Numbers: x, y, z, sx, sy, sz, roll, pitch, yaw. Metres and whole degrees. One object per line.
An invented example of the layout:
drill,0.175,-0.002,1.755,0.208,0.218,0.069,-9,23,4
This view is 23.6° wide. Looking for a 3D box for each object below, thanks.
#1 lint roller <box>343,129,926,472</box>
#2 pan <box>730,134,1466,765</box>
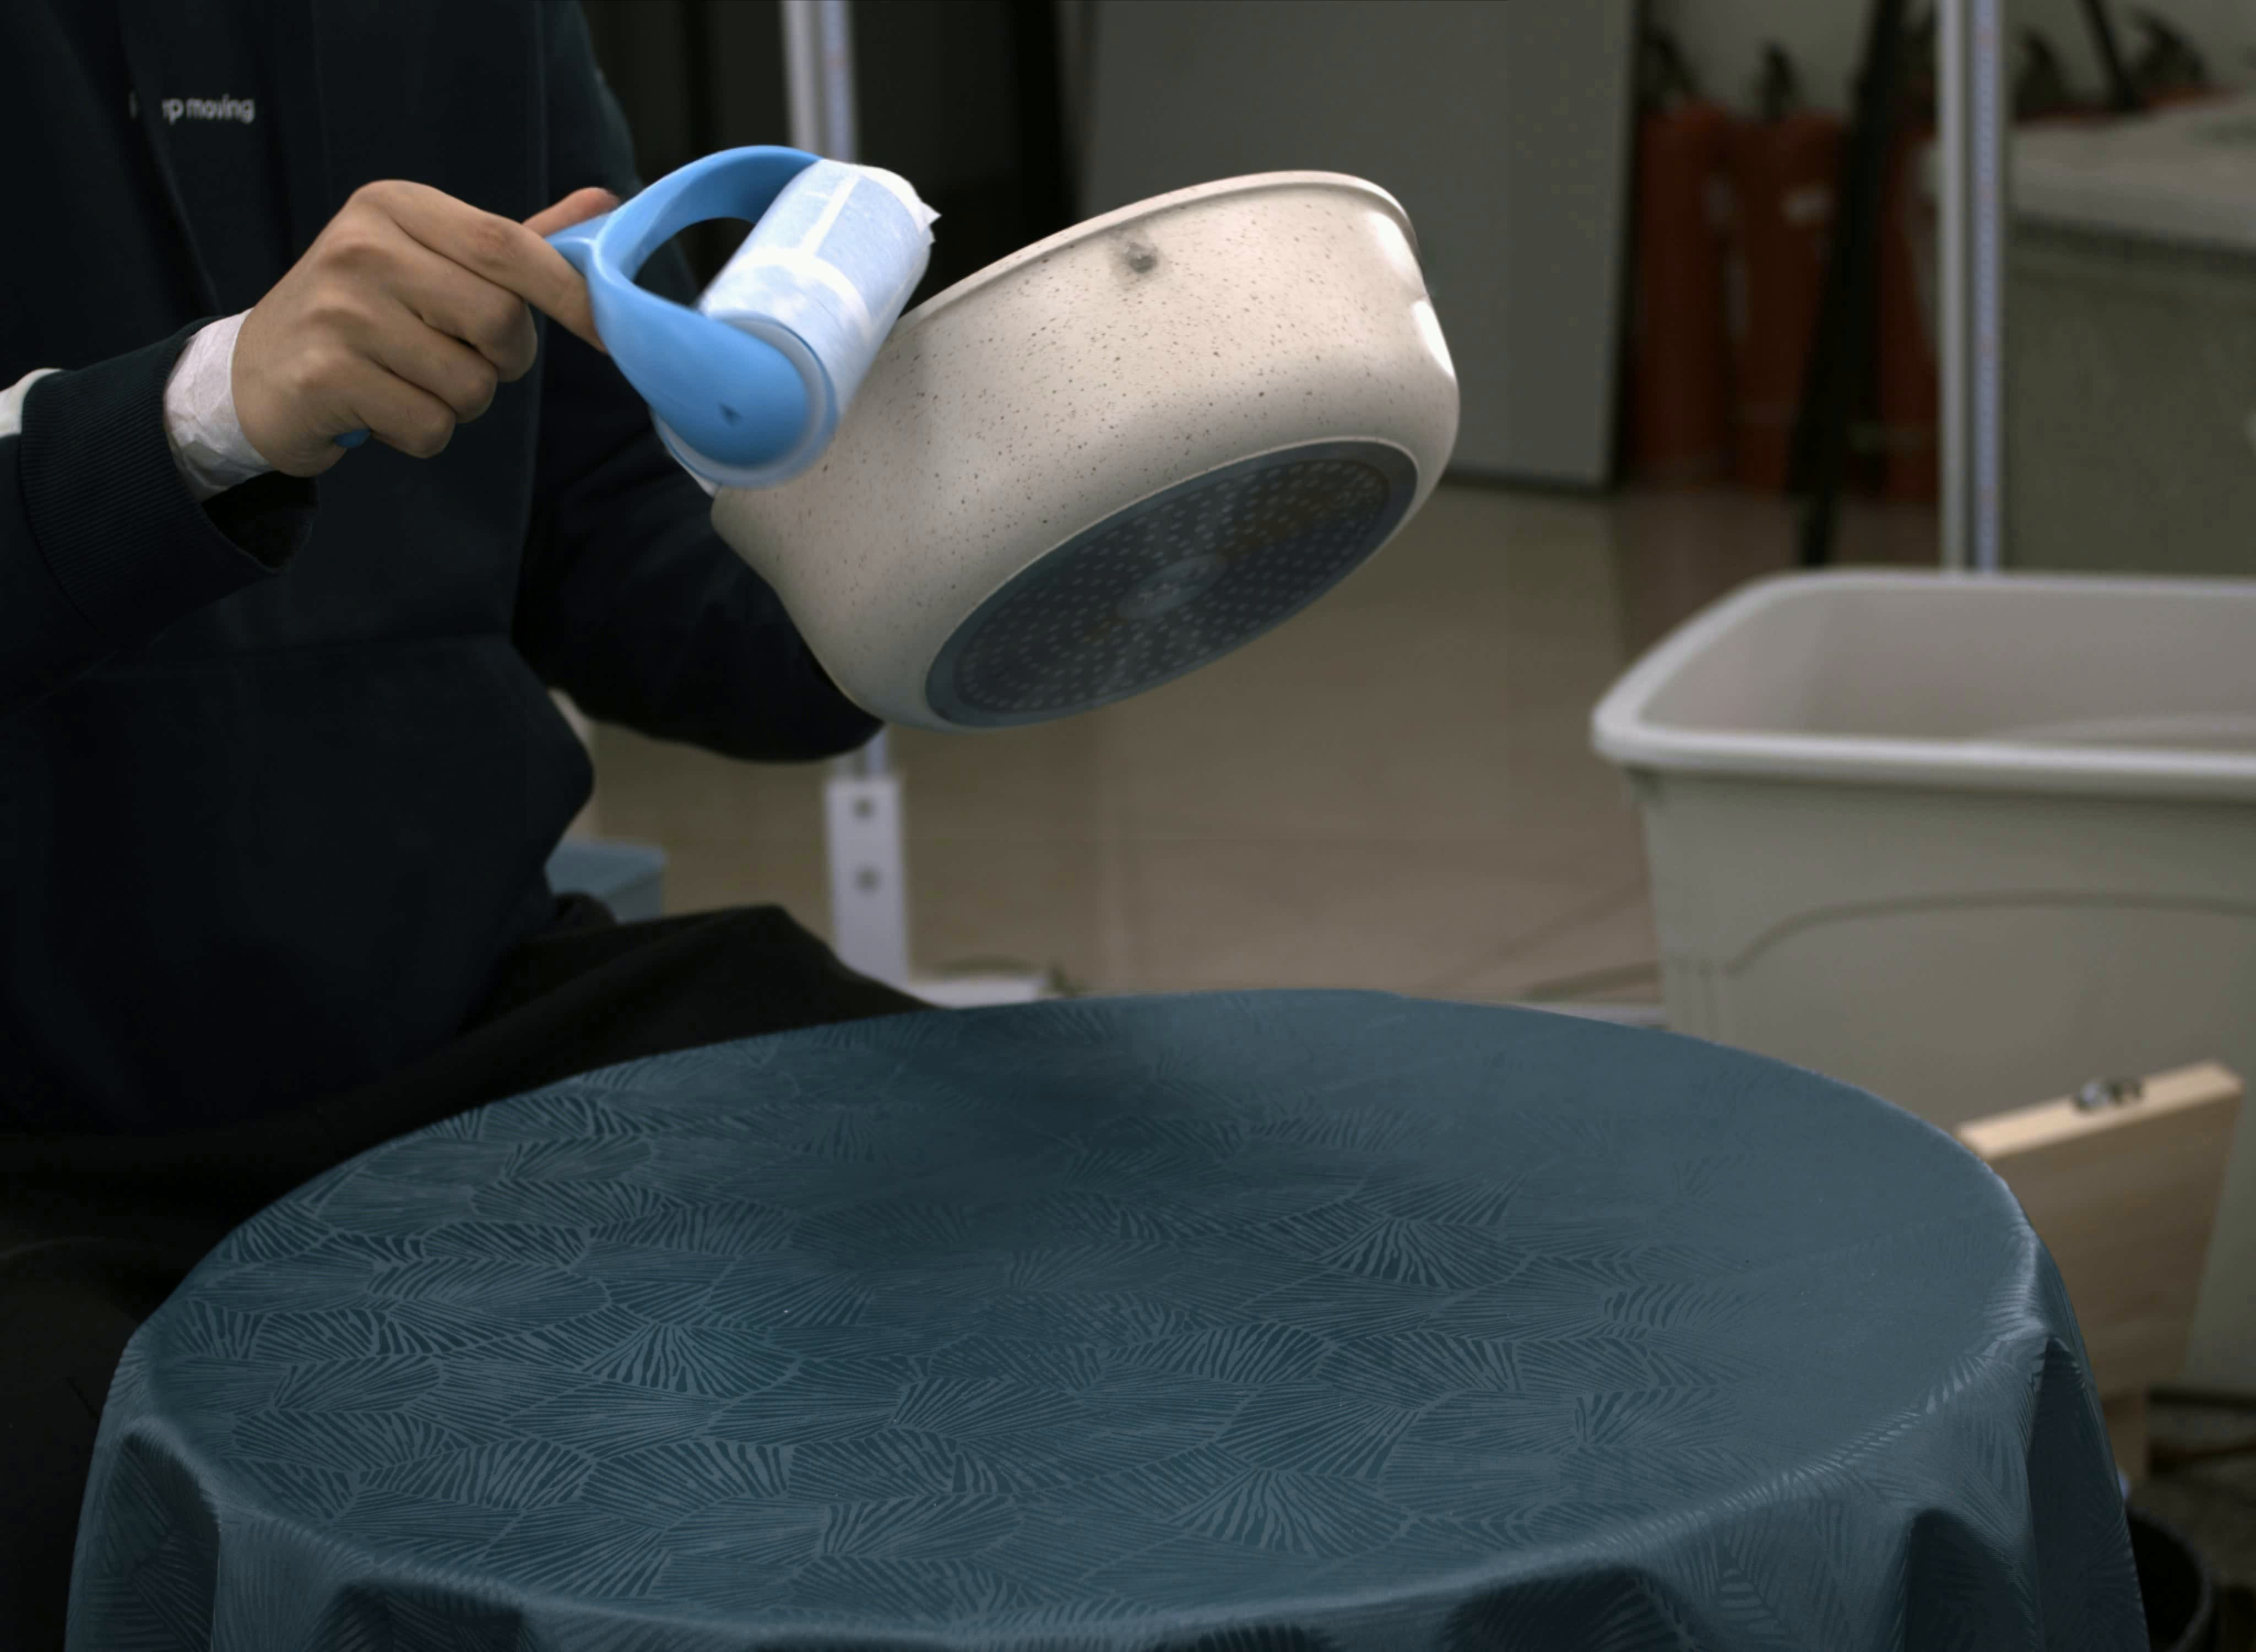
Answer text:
lint roller,-0.157,-0.155,1.646,0.178,0.068,0.229,-6,21,6
pan,-0.016,-0.087,1.881,0.259,0.103,0.437,-22,-19,-17
